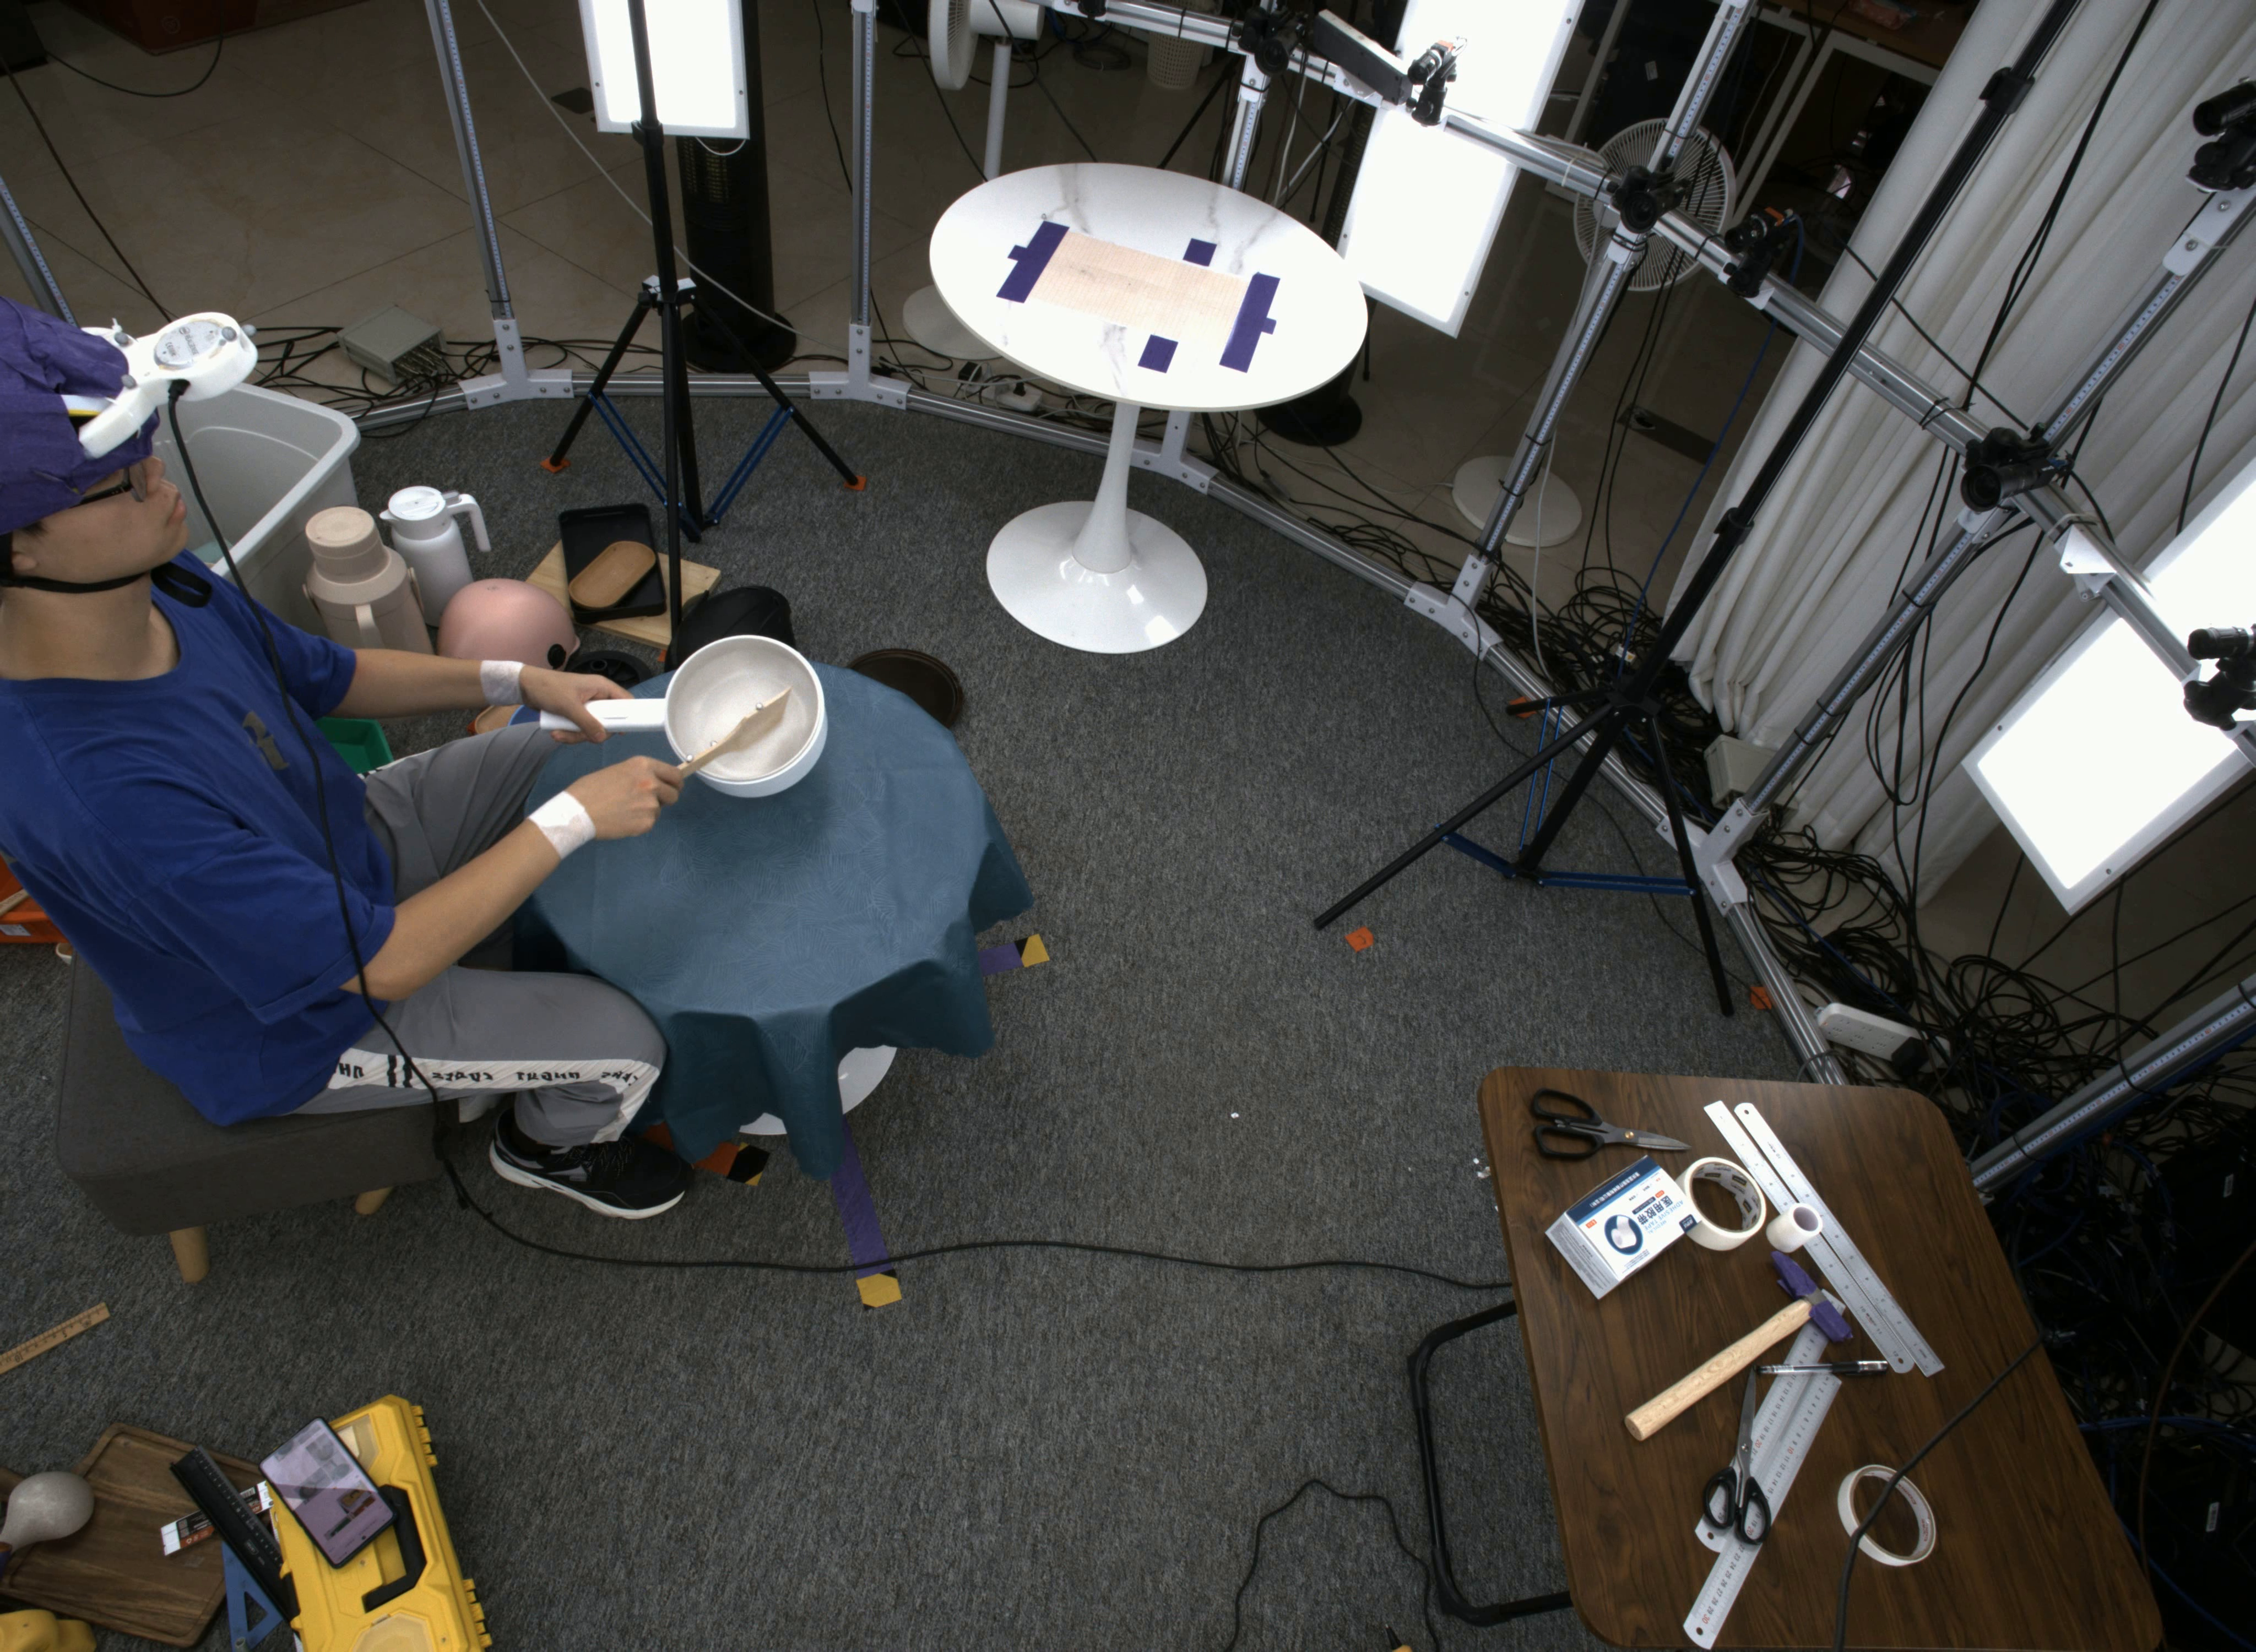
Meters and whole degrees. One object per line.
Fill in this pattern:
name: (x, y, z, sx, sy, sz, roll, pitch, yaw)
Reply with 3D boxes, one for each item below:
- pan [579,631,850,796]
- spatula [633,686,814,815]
pan: (-0.539, -0.141, 1.681, 0.353, 0.102, 0.201, -1, 78, -8)
spatula: (-0.485, -0.089, 1.561, 0.010, 0.073, 0.293, 37, 44, 13)
